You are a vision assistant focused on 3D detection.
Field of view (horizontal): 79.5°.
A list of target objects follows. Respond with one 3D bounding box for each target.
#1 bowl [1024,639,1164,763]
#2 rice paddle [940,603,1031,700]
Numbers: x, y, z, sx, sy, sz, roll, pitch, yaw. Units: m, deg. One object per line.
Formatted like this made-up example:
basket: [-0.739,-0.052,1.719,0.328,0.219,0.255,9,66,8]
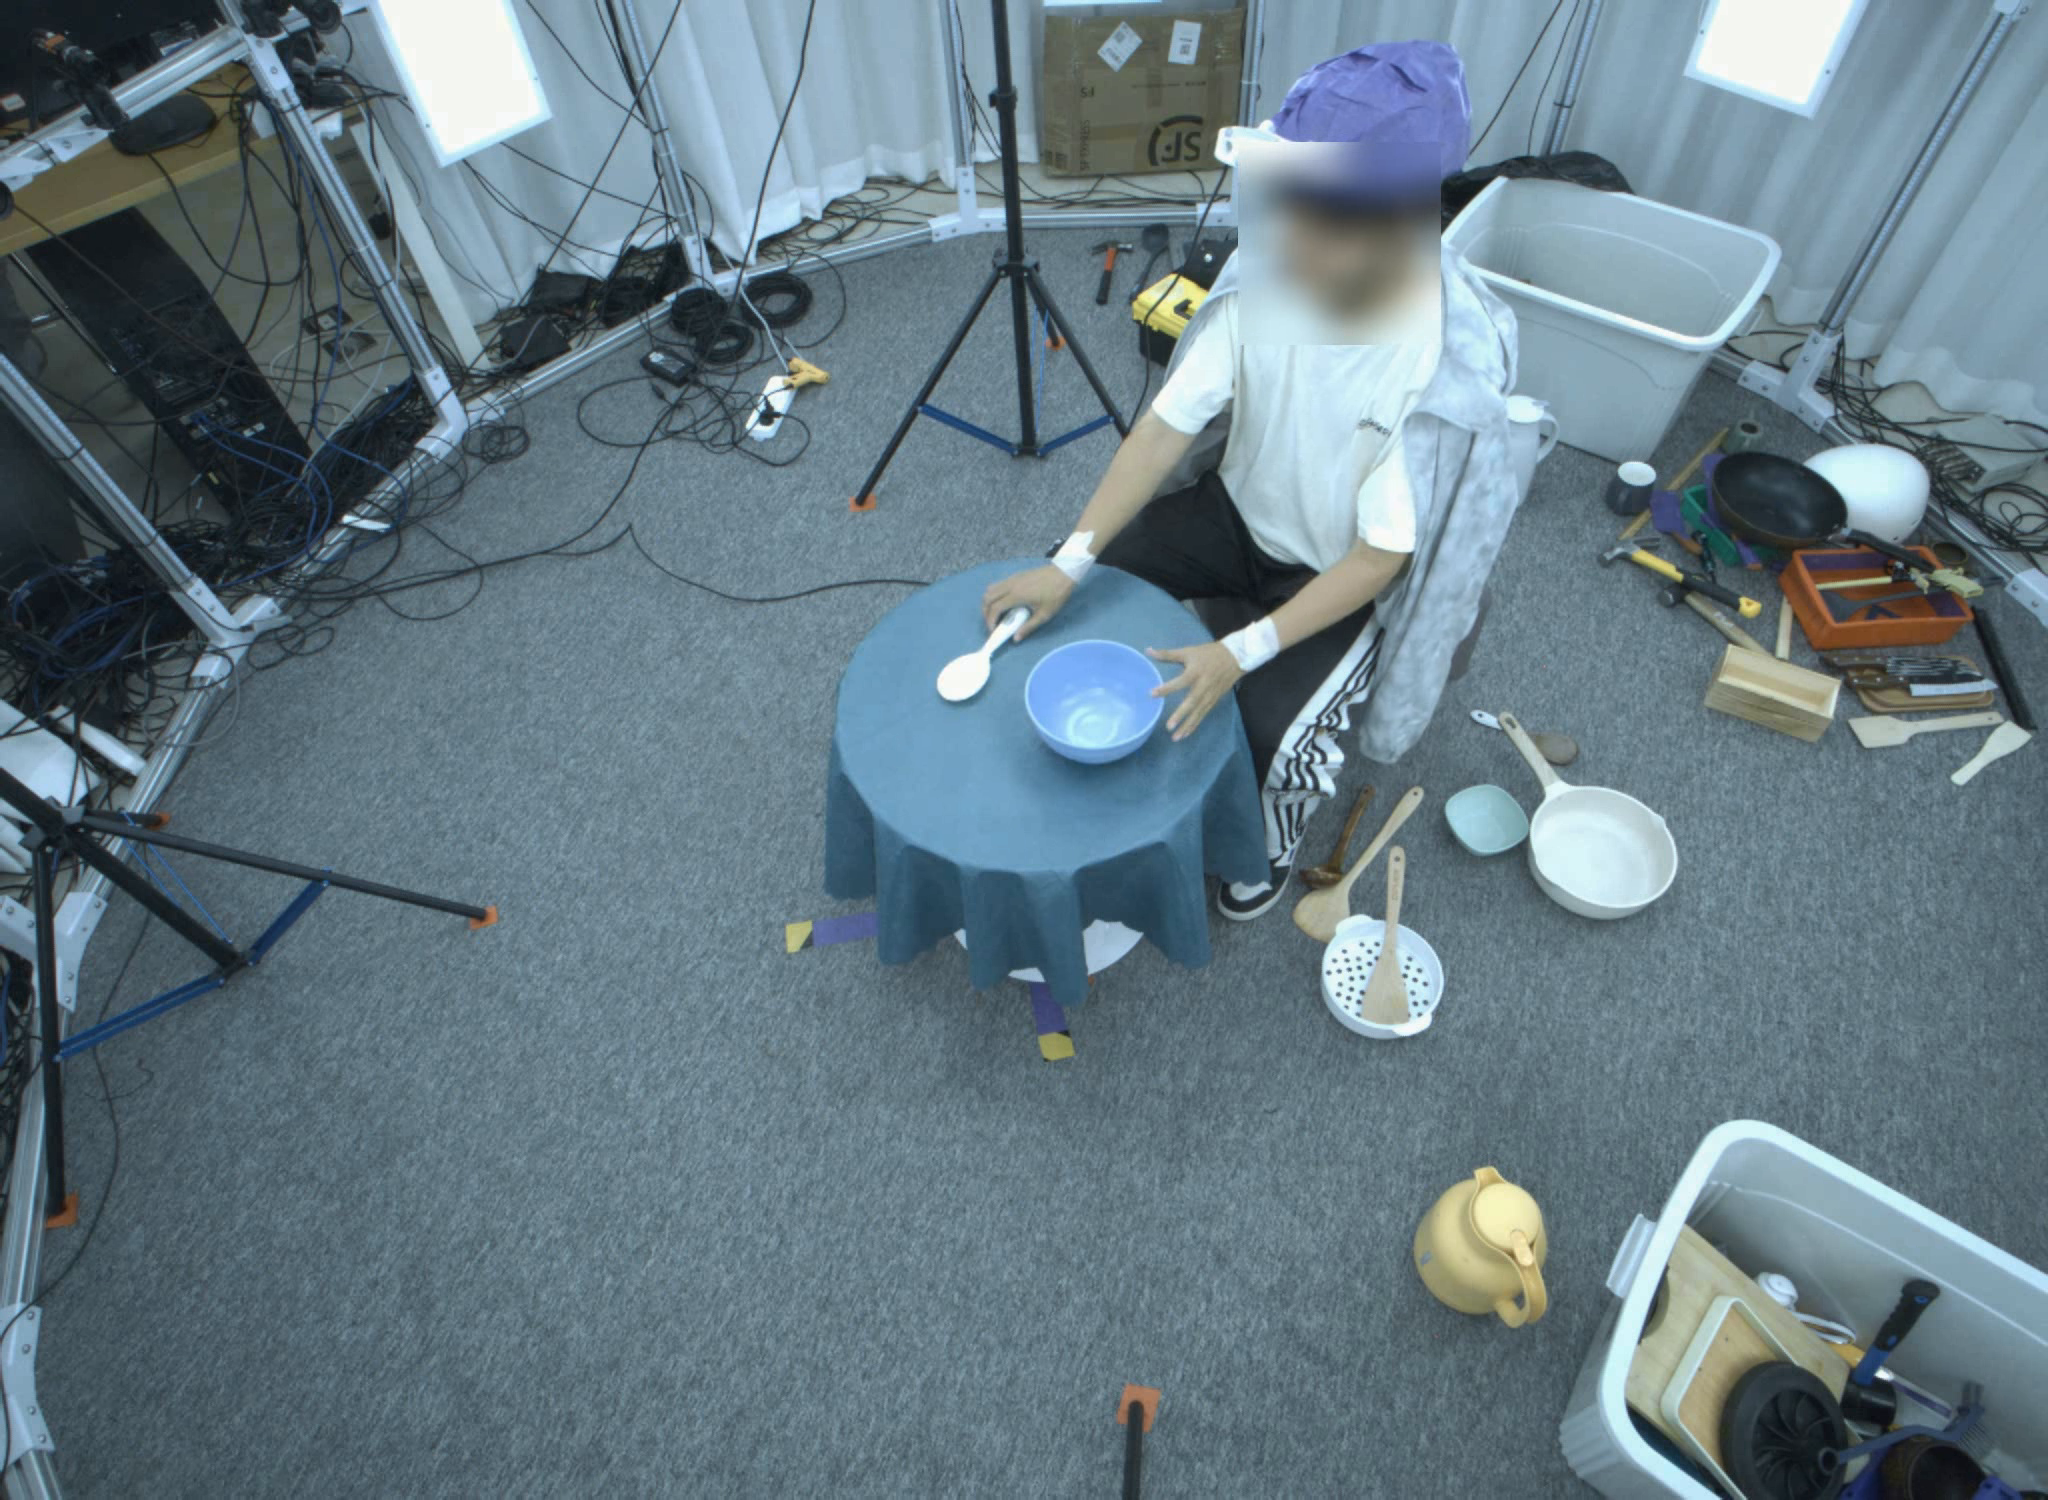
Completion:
bowl: [0.101,-0.055,1.765,0.196,0.096,0.194,-1,55,3]
rice paddle: [-0.057,-0.150,1.879,0.068,0.030,0.206,27,60,21]
